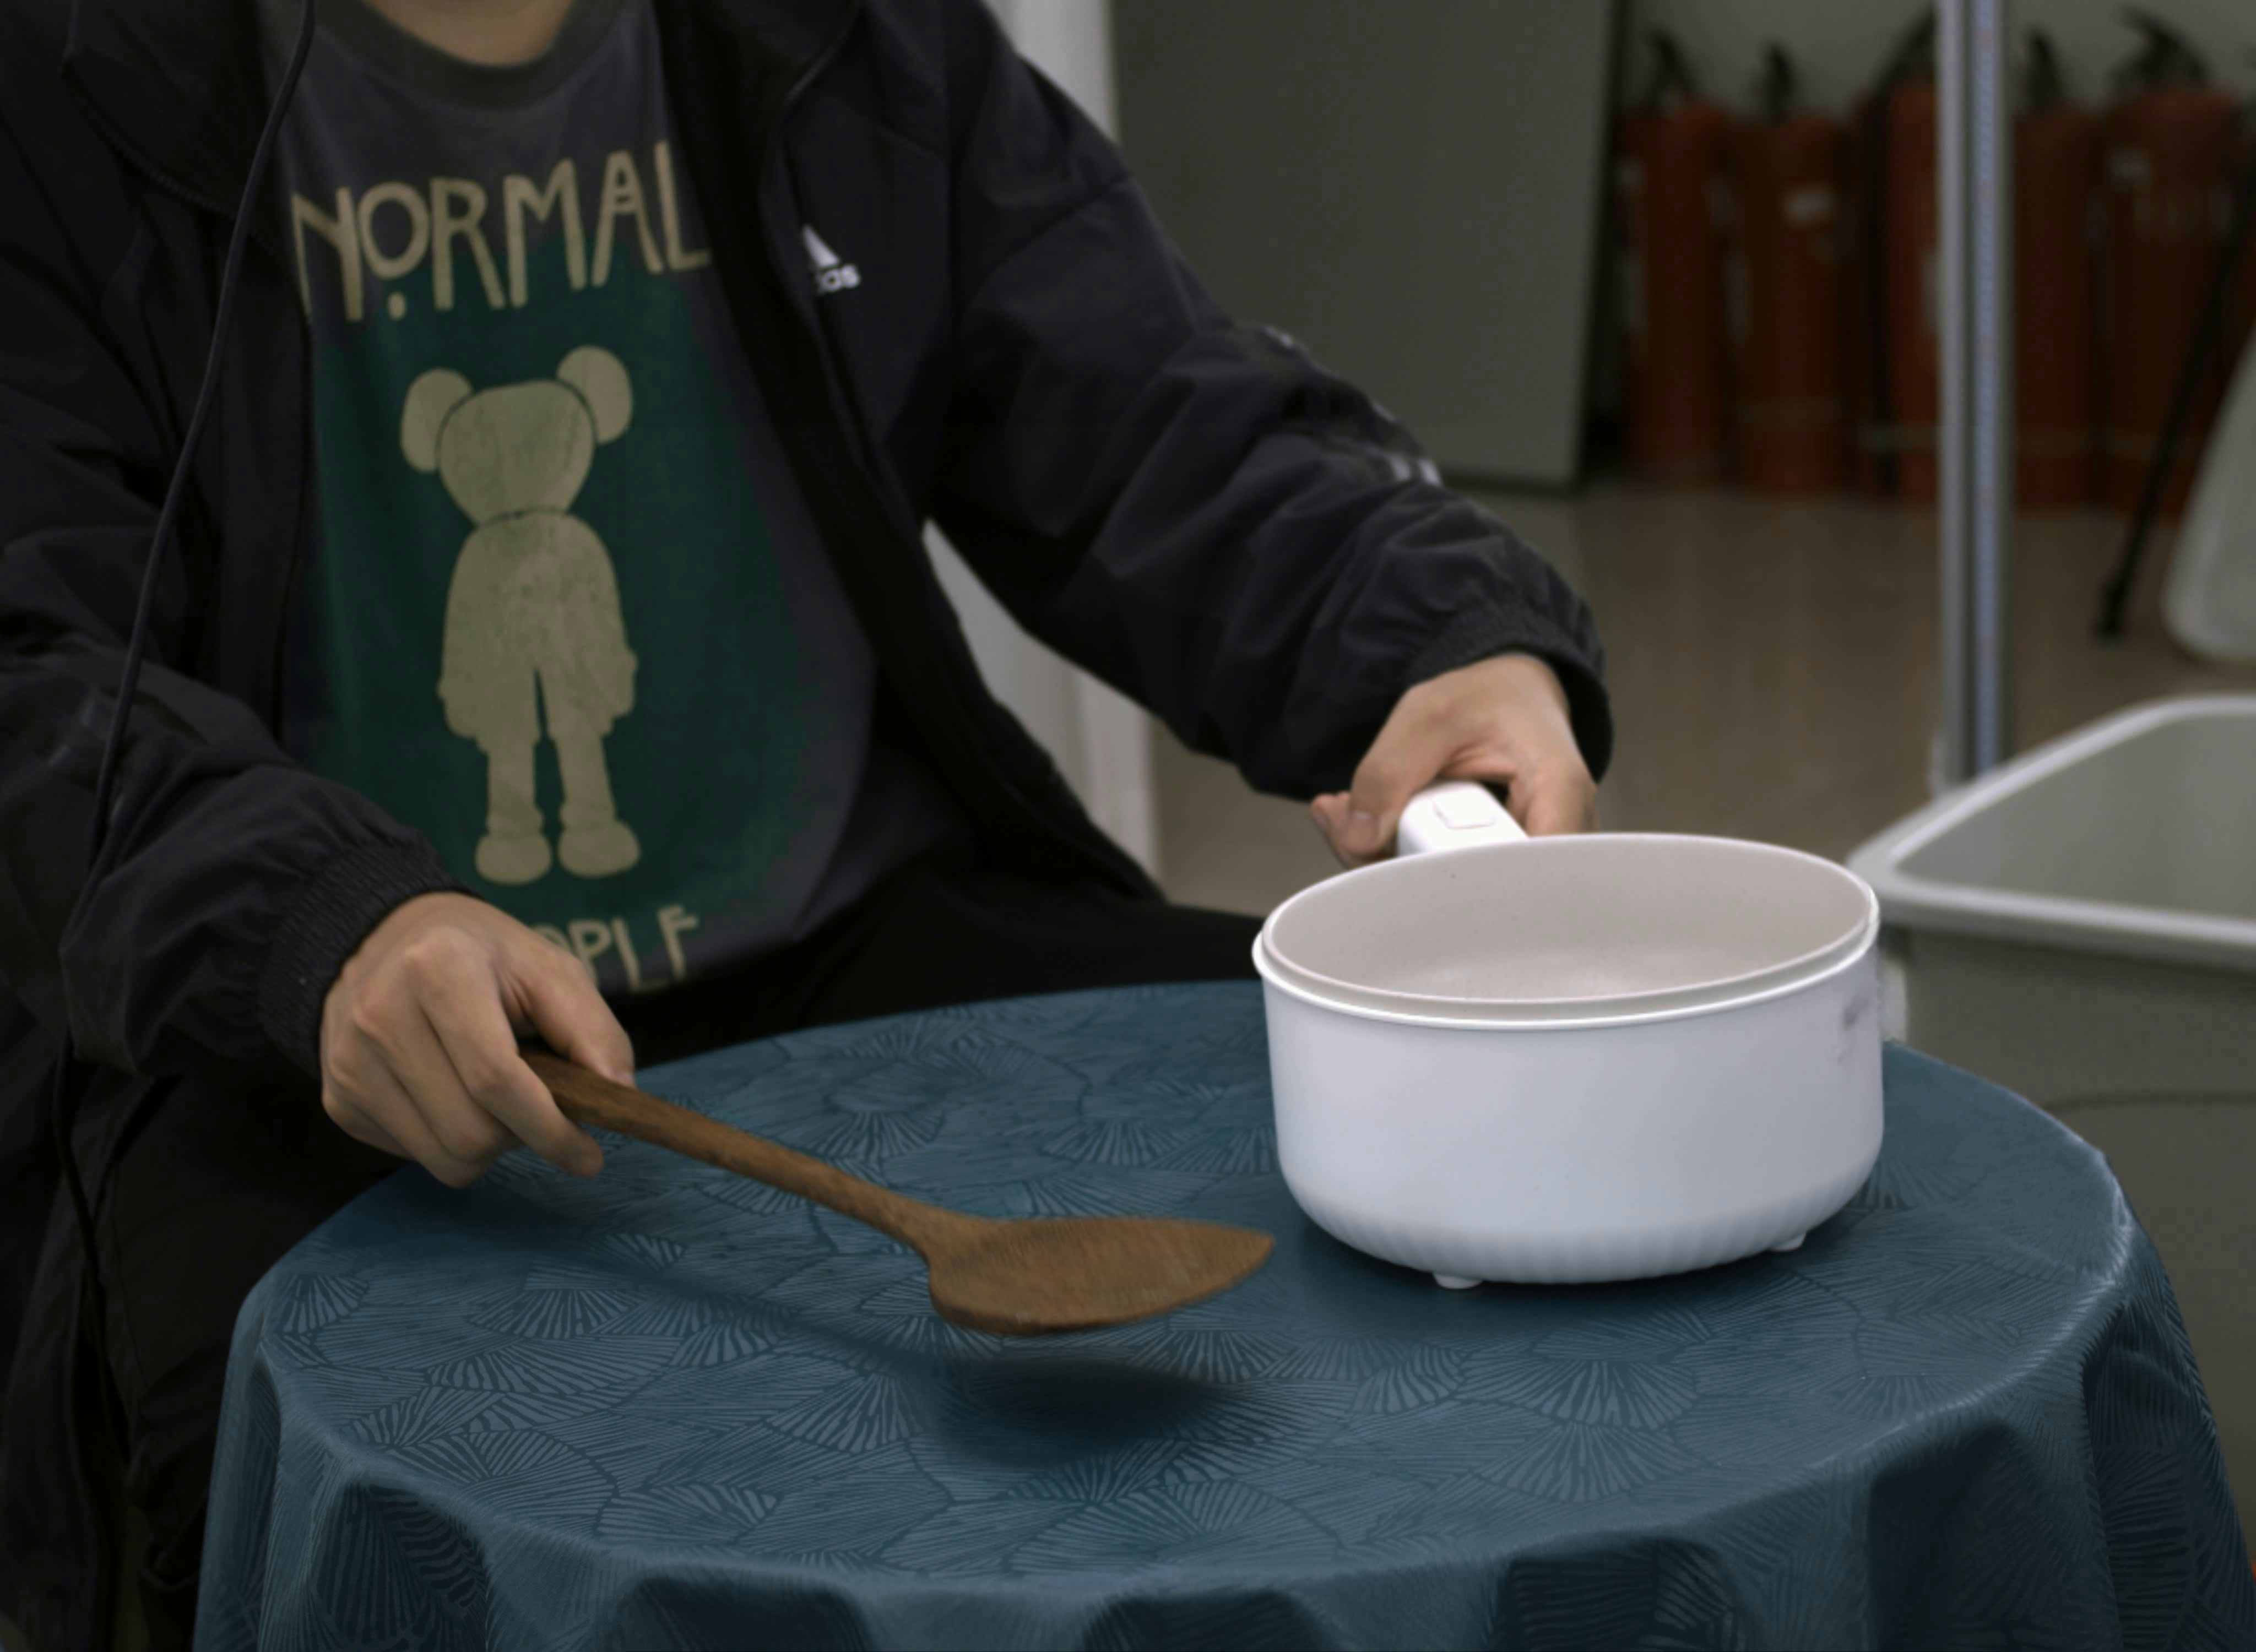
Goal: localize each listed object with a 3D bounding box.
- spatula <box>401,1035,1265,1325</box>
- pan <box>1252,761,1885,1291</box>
[{"bbox_3d":[-0.112,0.105,1.687,0.094,0.016,0.390,-18,21,-39],"label":"spatula"},{"bbox_3d":[0.131,0.060,1.779,0.198,0.103,0.356,-8,12,-6],"label":"pan"}]
